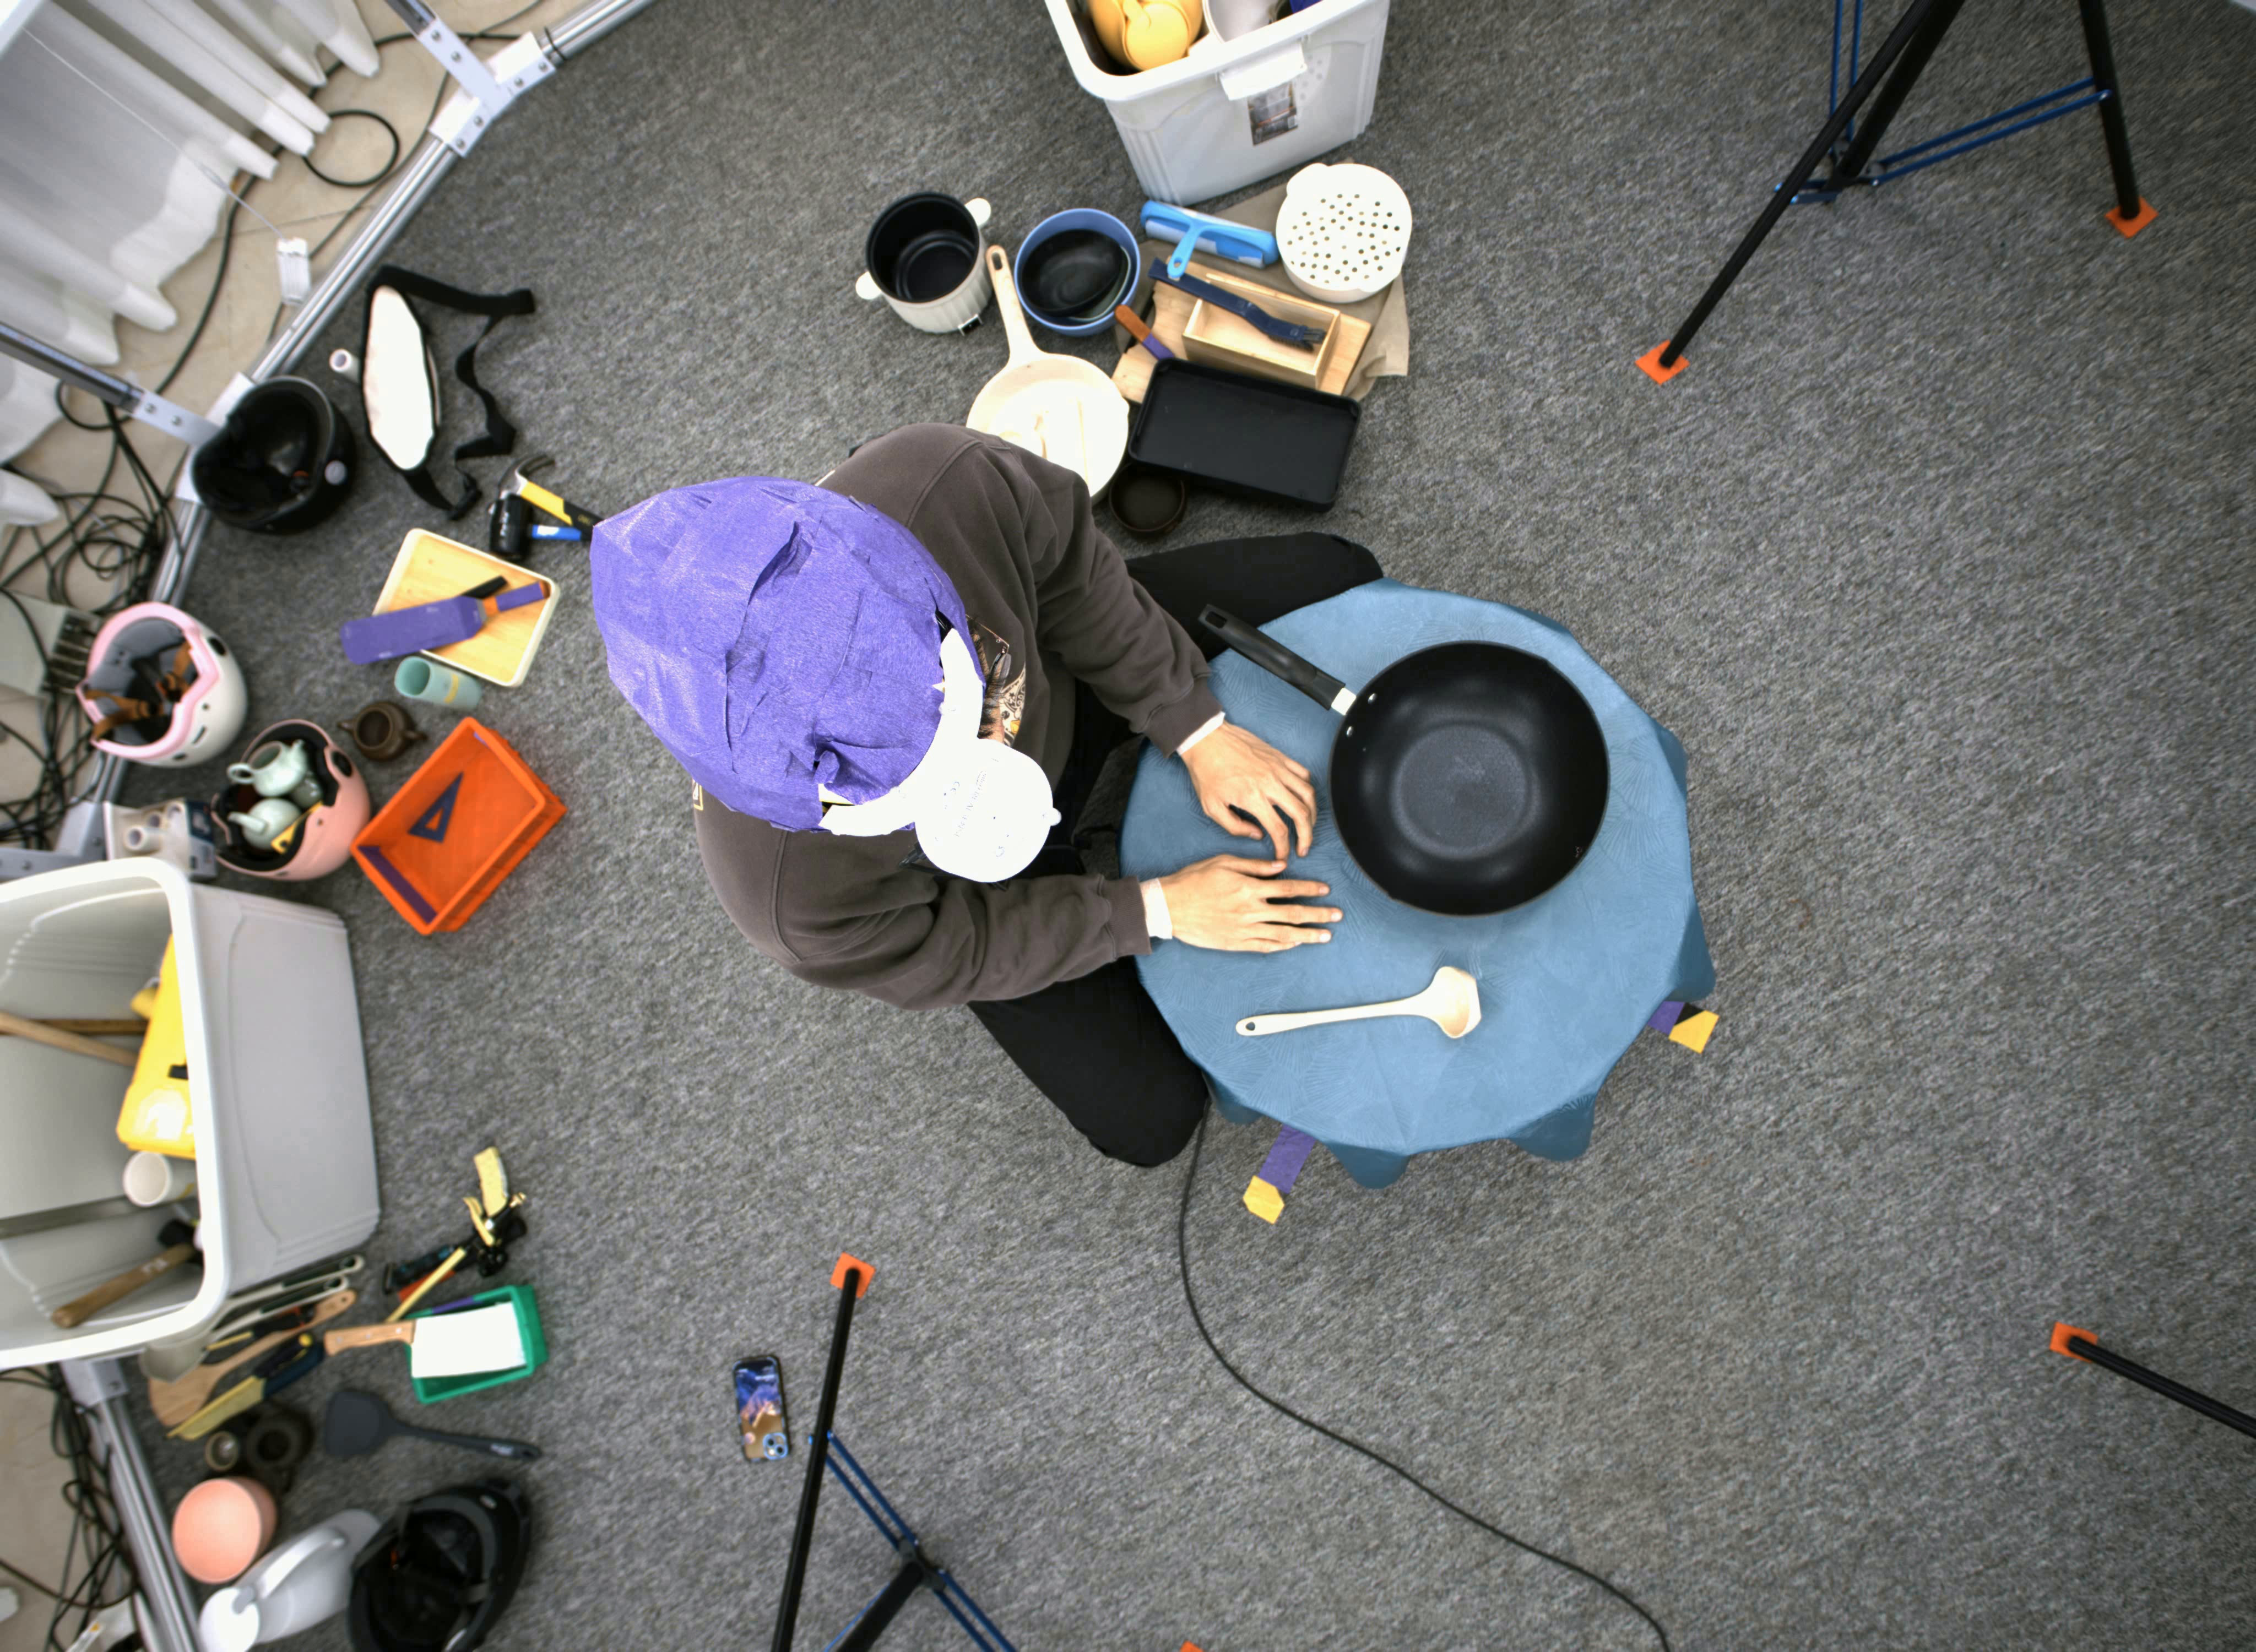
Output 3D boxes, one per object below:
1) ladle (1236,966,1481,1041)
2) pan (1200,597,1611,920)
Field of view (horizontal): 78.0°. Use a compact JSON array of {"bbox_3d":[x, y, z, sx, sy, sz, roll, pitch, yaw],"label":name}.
[{"bbox_3d":[0.233,0.195,1.422,0.256,0.072,0.072,-11,90,9],"label":"ladle"},{"bbox_3d":[0.270,-0.095,1.424,0.462,0.087,0.289,34,94,11],"label":"pan"}]
